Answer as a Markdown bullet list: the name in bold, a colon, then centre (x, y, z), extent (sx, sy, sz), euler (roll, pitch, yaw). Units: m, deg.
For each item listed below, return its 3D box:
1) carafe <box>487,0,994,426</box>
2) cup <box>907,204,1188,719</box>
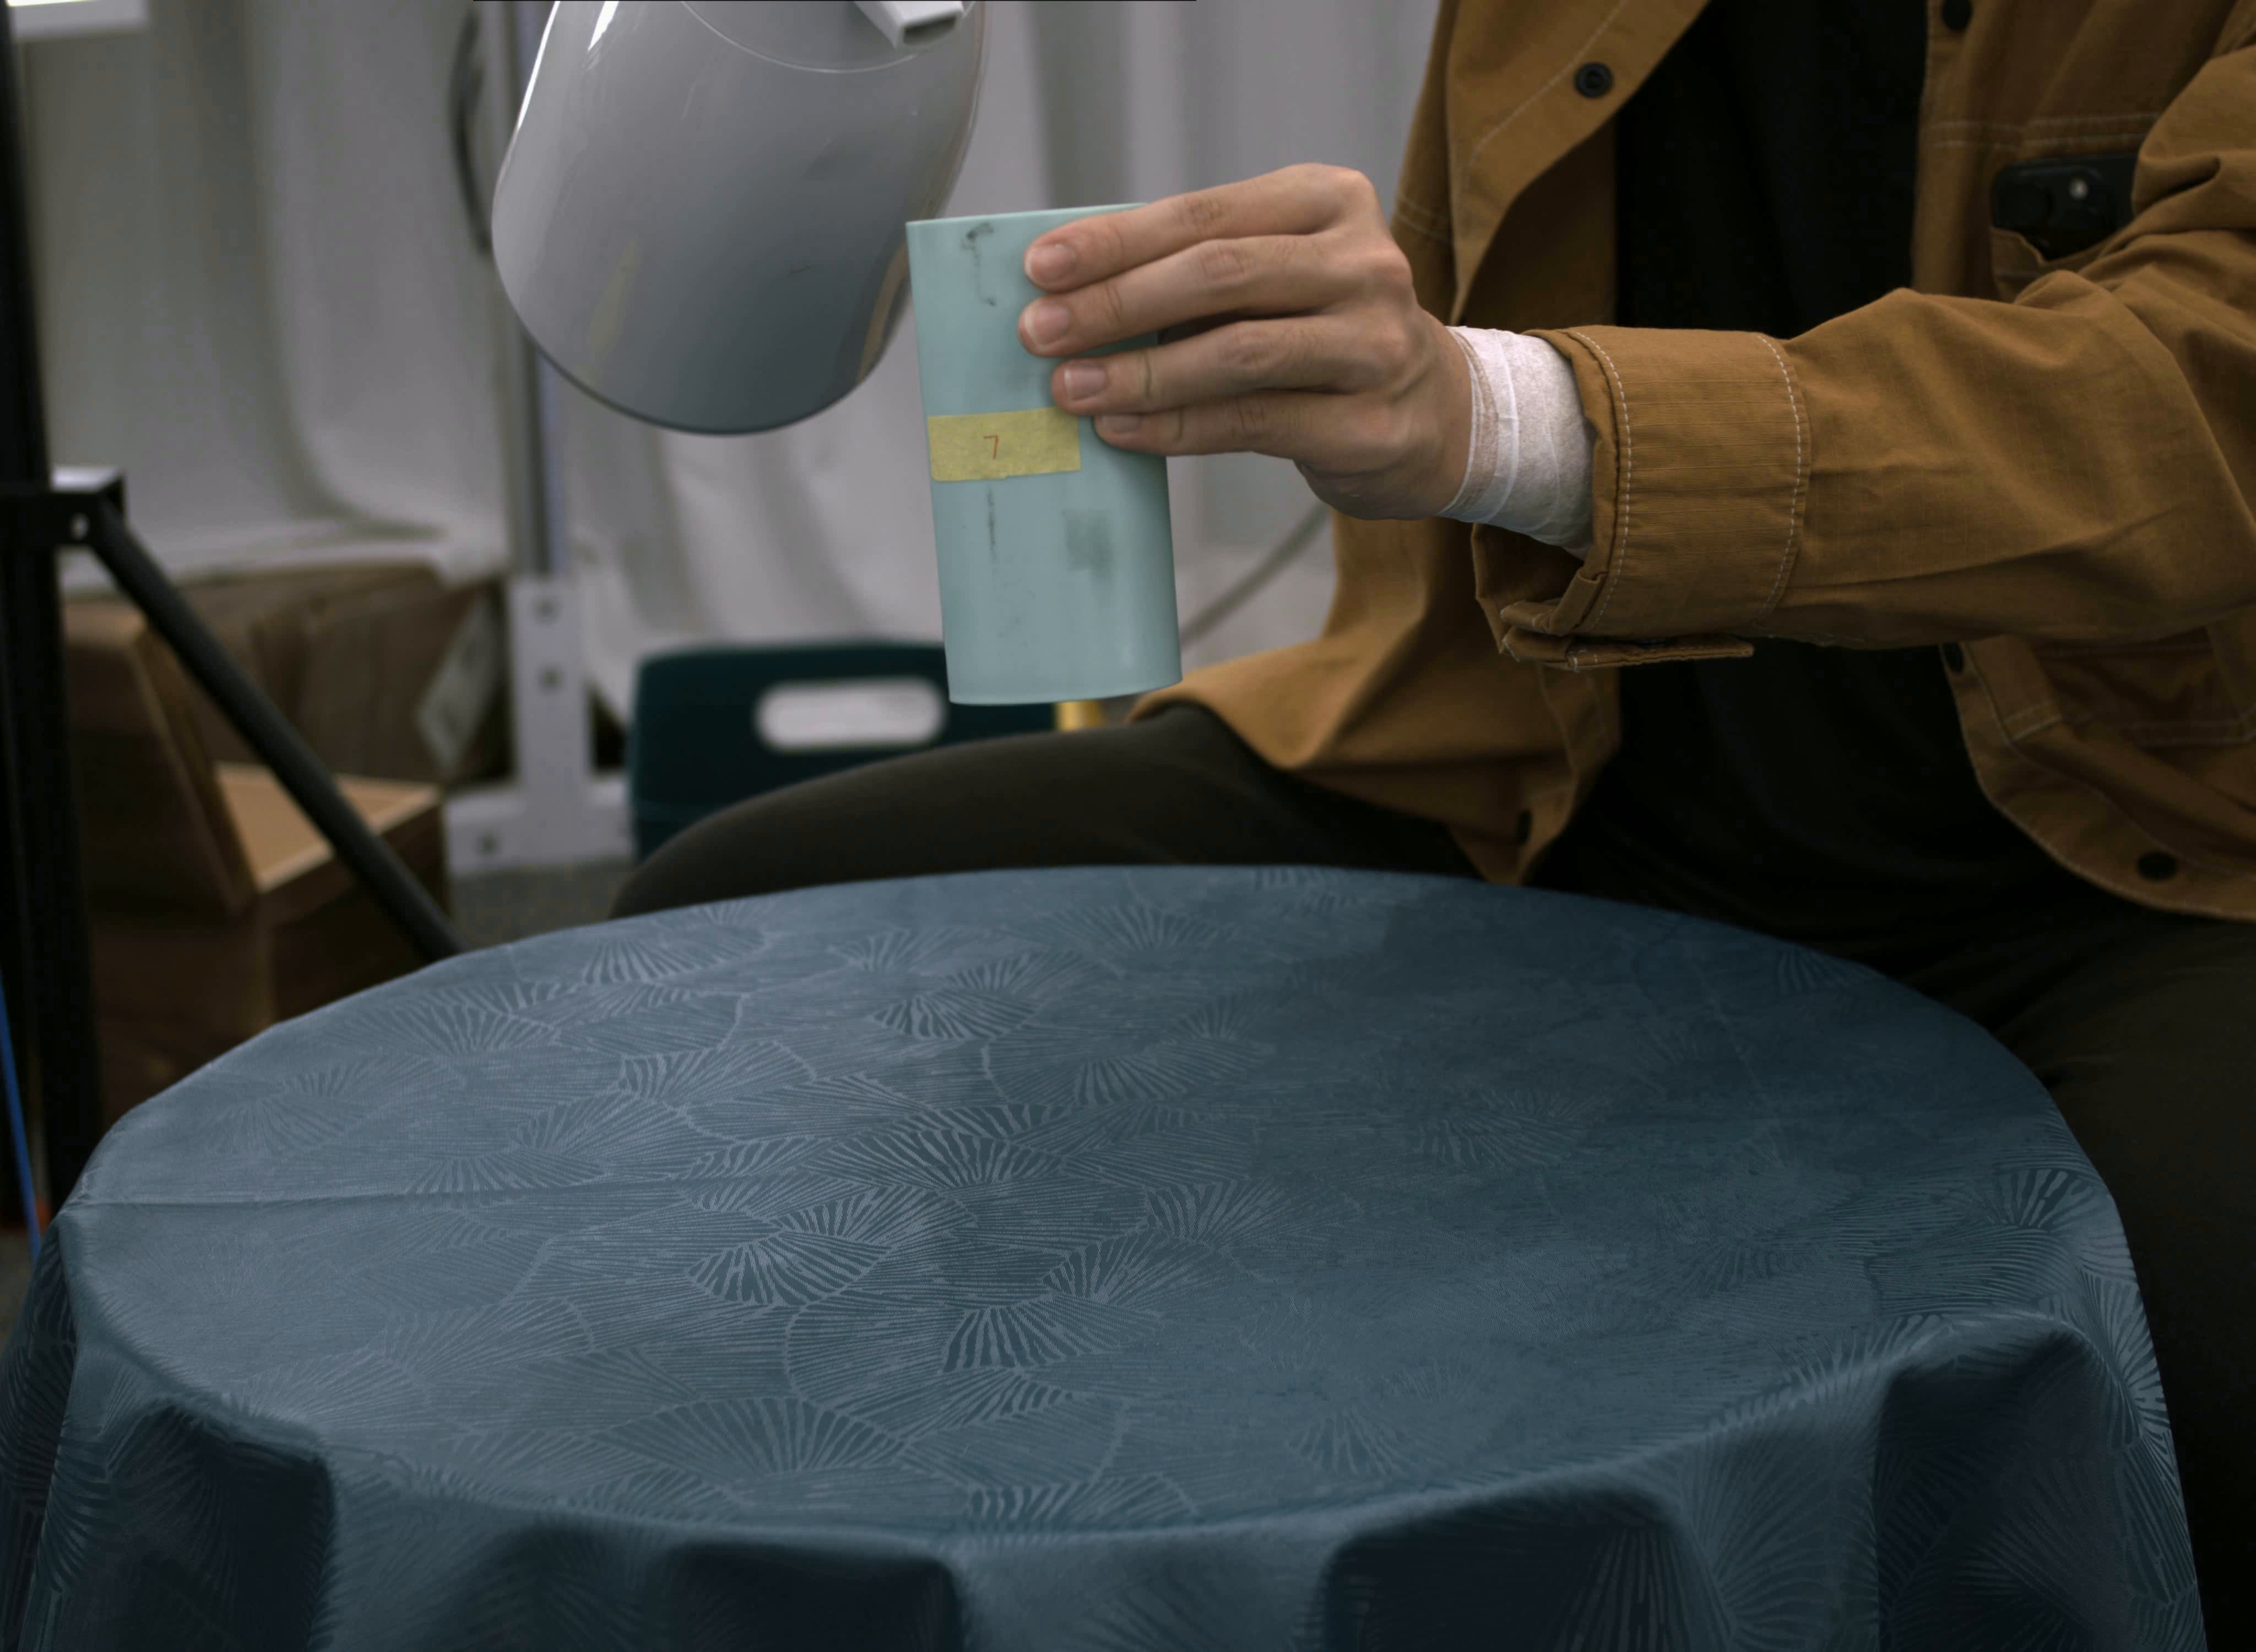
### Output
- **carafe**: centre (-0.111, -0.248, 1.558), extent (0.130, 0.170, 0.249), euler (-17, -19, -22)
- **cup**: centre (-0.020, -0.099, 1.434), extent (0.066, 0.133, 0.067), euler (-5, 6, -1)
